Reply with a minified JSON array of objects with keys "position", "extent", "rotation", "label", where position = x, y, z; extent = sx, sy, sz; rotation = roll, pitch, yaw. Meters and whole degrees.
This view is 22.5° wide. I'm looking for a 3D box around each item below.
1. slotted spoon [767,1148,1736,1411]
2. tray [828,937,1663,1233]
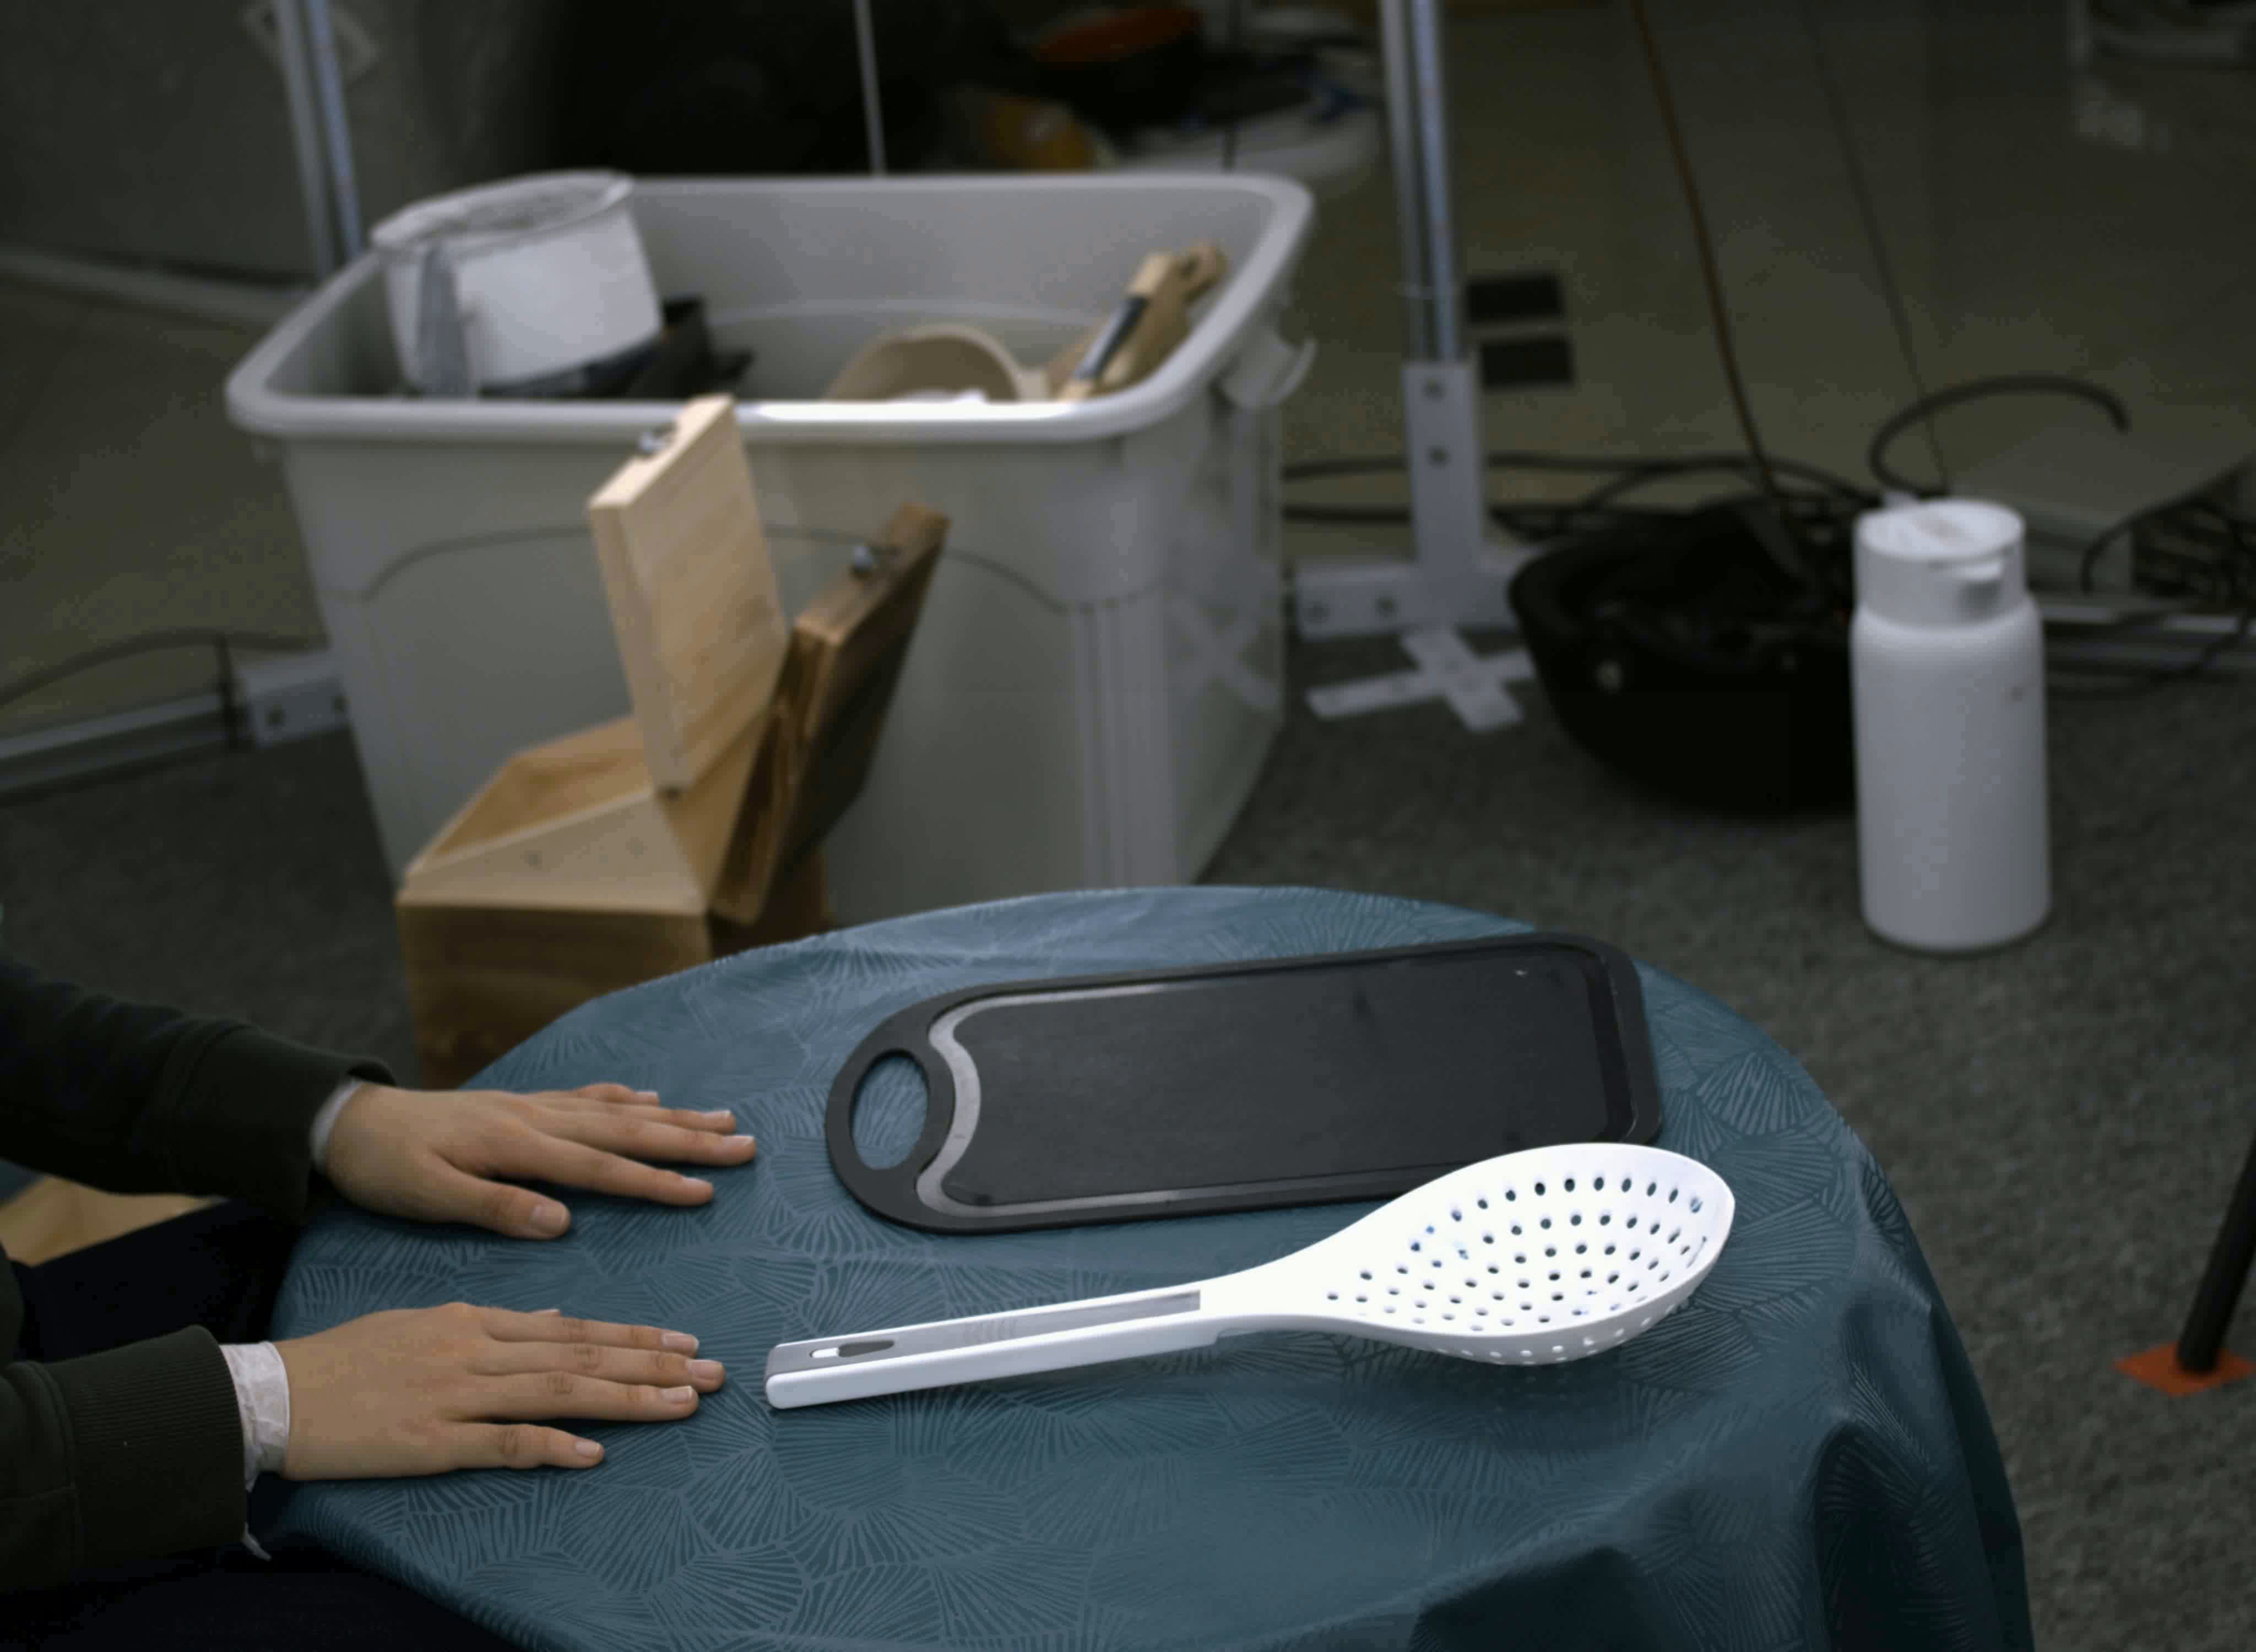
[{"position":[0.043,0.171,2.020],"extent":[0.349,0.046,0.134],"rotation":[-5,23,4],"label":"slotted spoon"},{"position":[0.043,0.099,2.220],"extent":[0.325,0.010,0.208],"rotation":[-5,24,3],"label":"tray"}]
